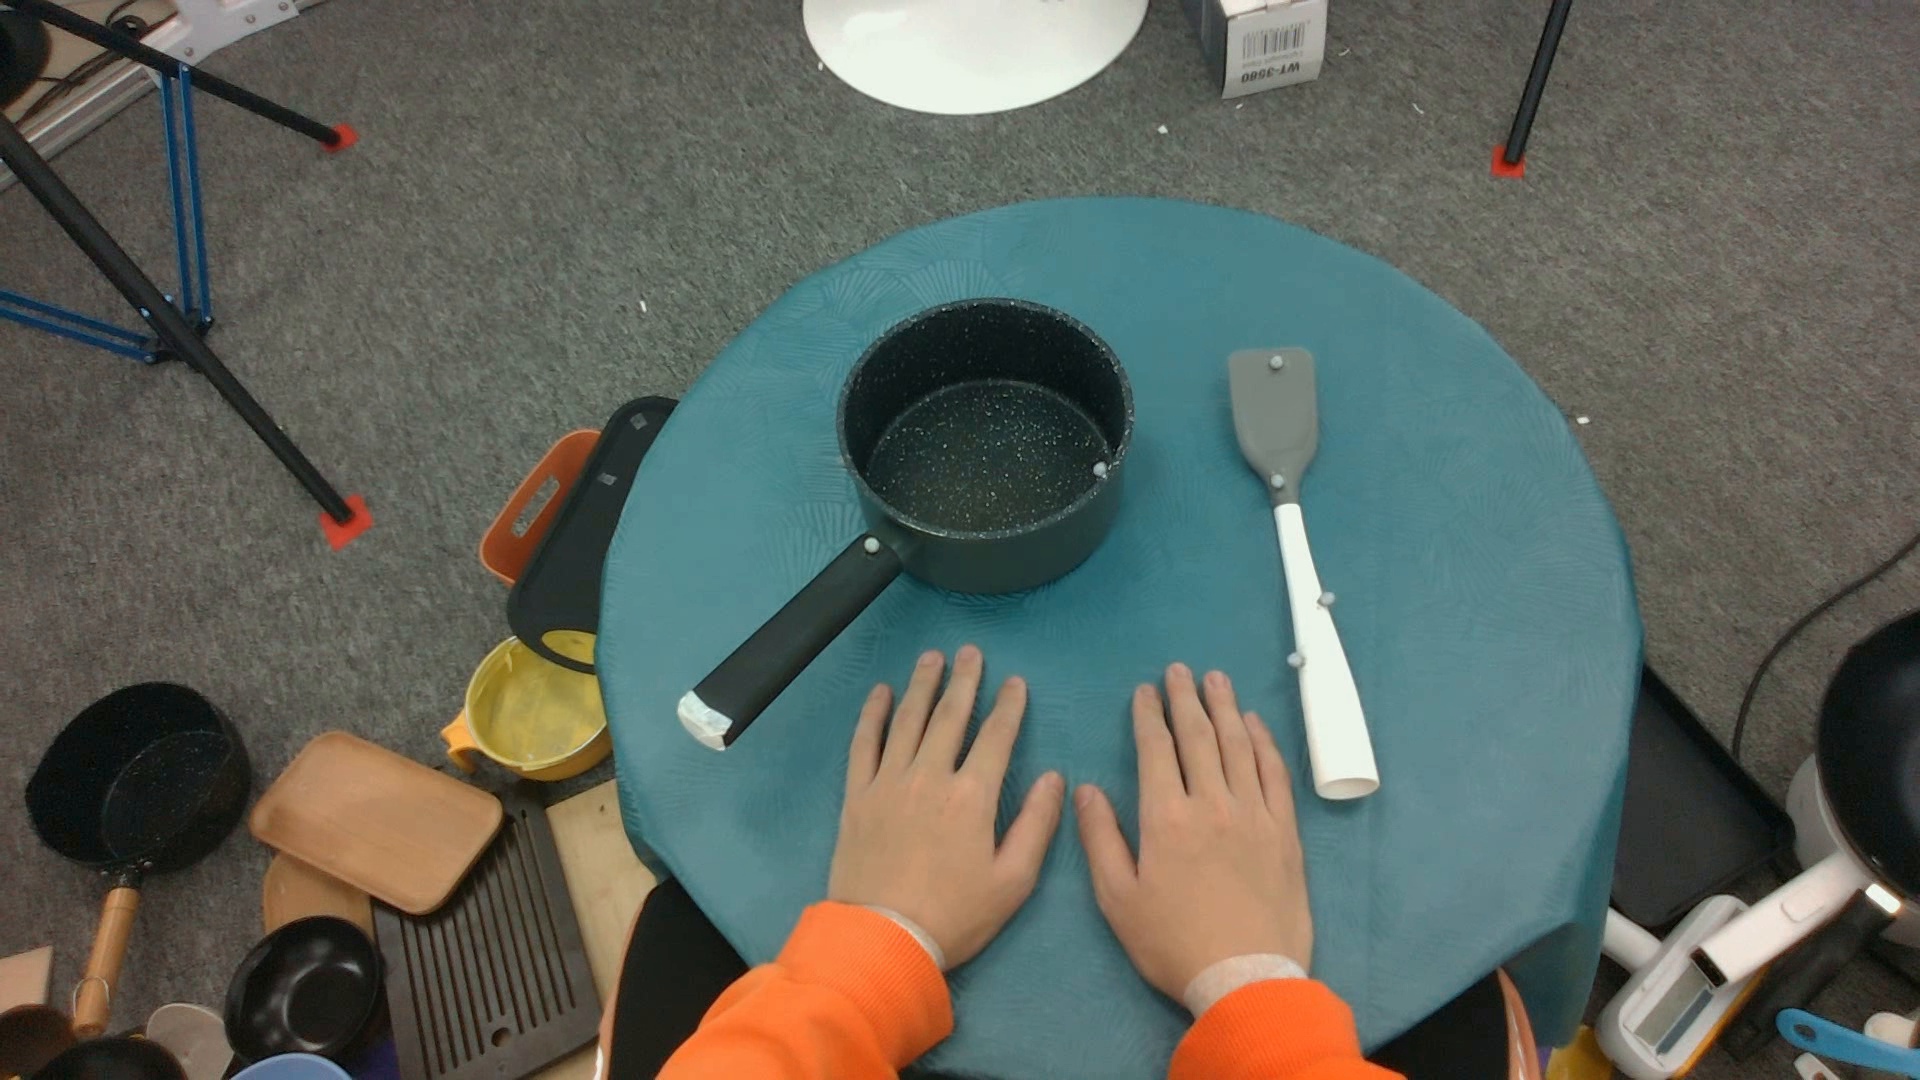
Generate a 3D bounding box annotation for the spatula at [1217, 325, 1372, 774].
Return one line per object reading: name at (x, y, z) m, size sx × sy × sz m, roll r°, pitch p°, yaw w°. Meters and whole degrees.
spatula at (0.193, -0.006, 0.792) m, size 0.058 × 0.032 × 0.289 m, roll -6°, pitch 59°, yaw 6°

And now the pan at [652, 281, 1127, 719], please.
pan at (-0.038, -0.011, 0.781) m, size 0.172 × 0.086 × 0.330 m, roll 33°, pitch 64°, yaw 23°
